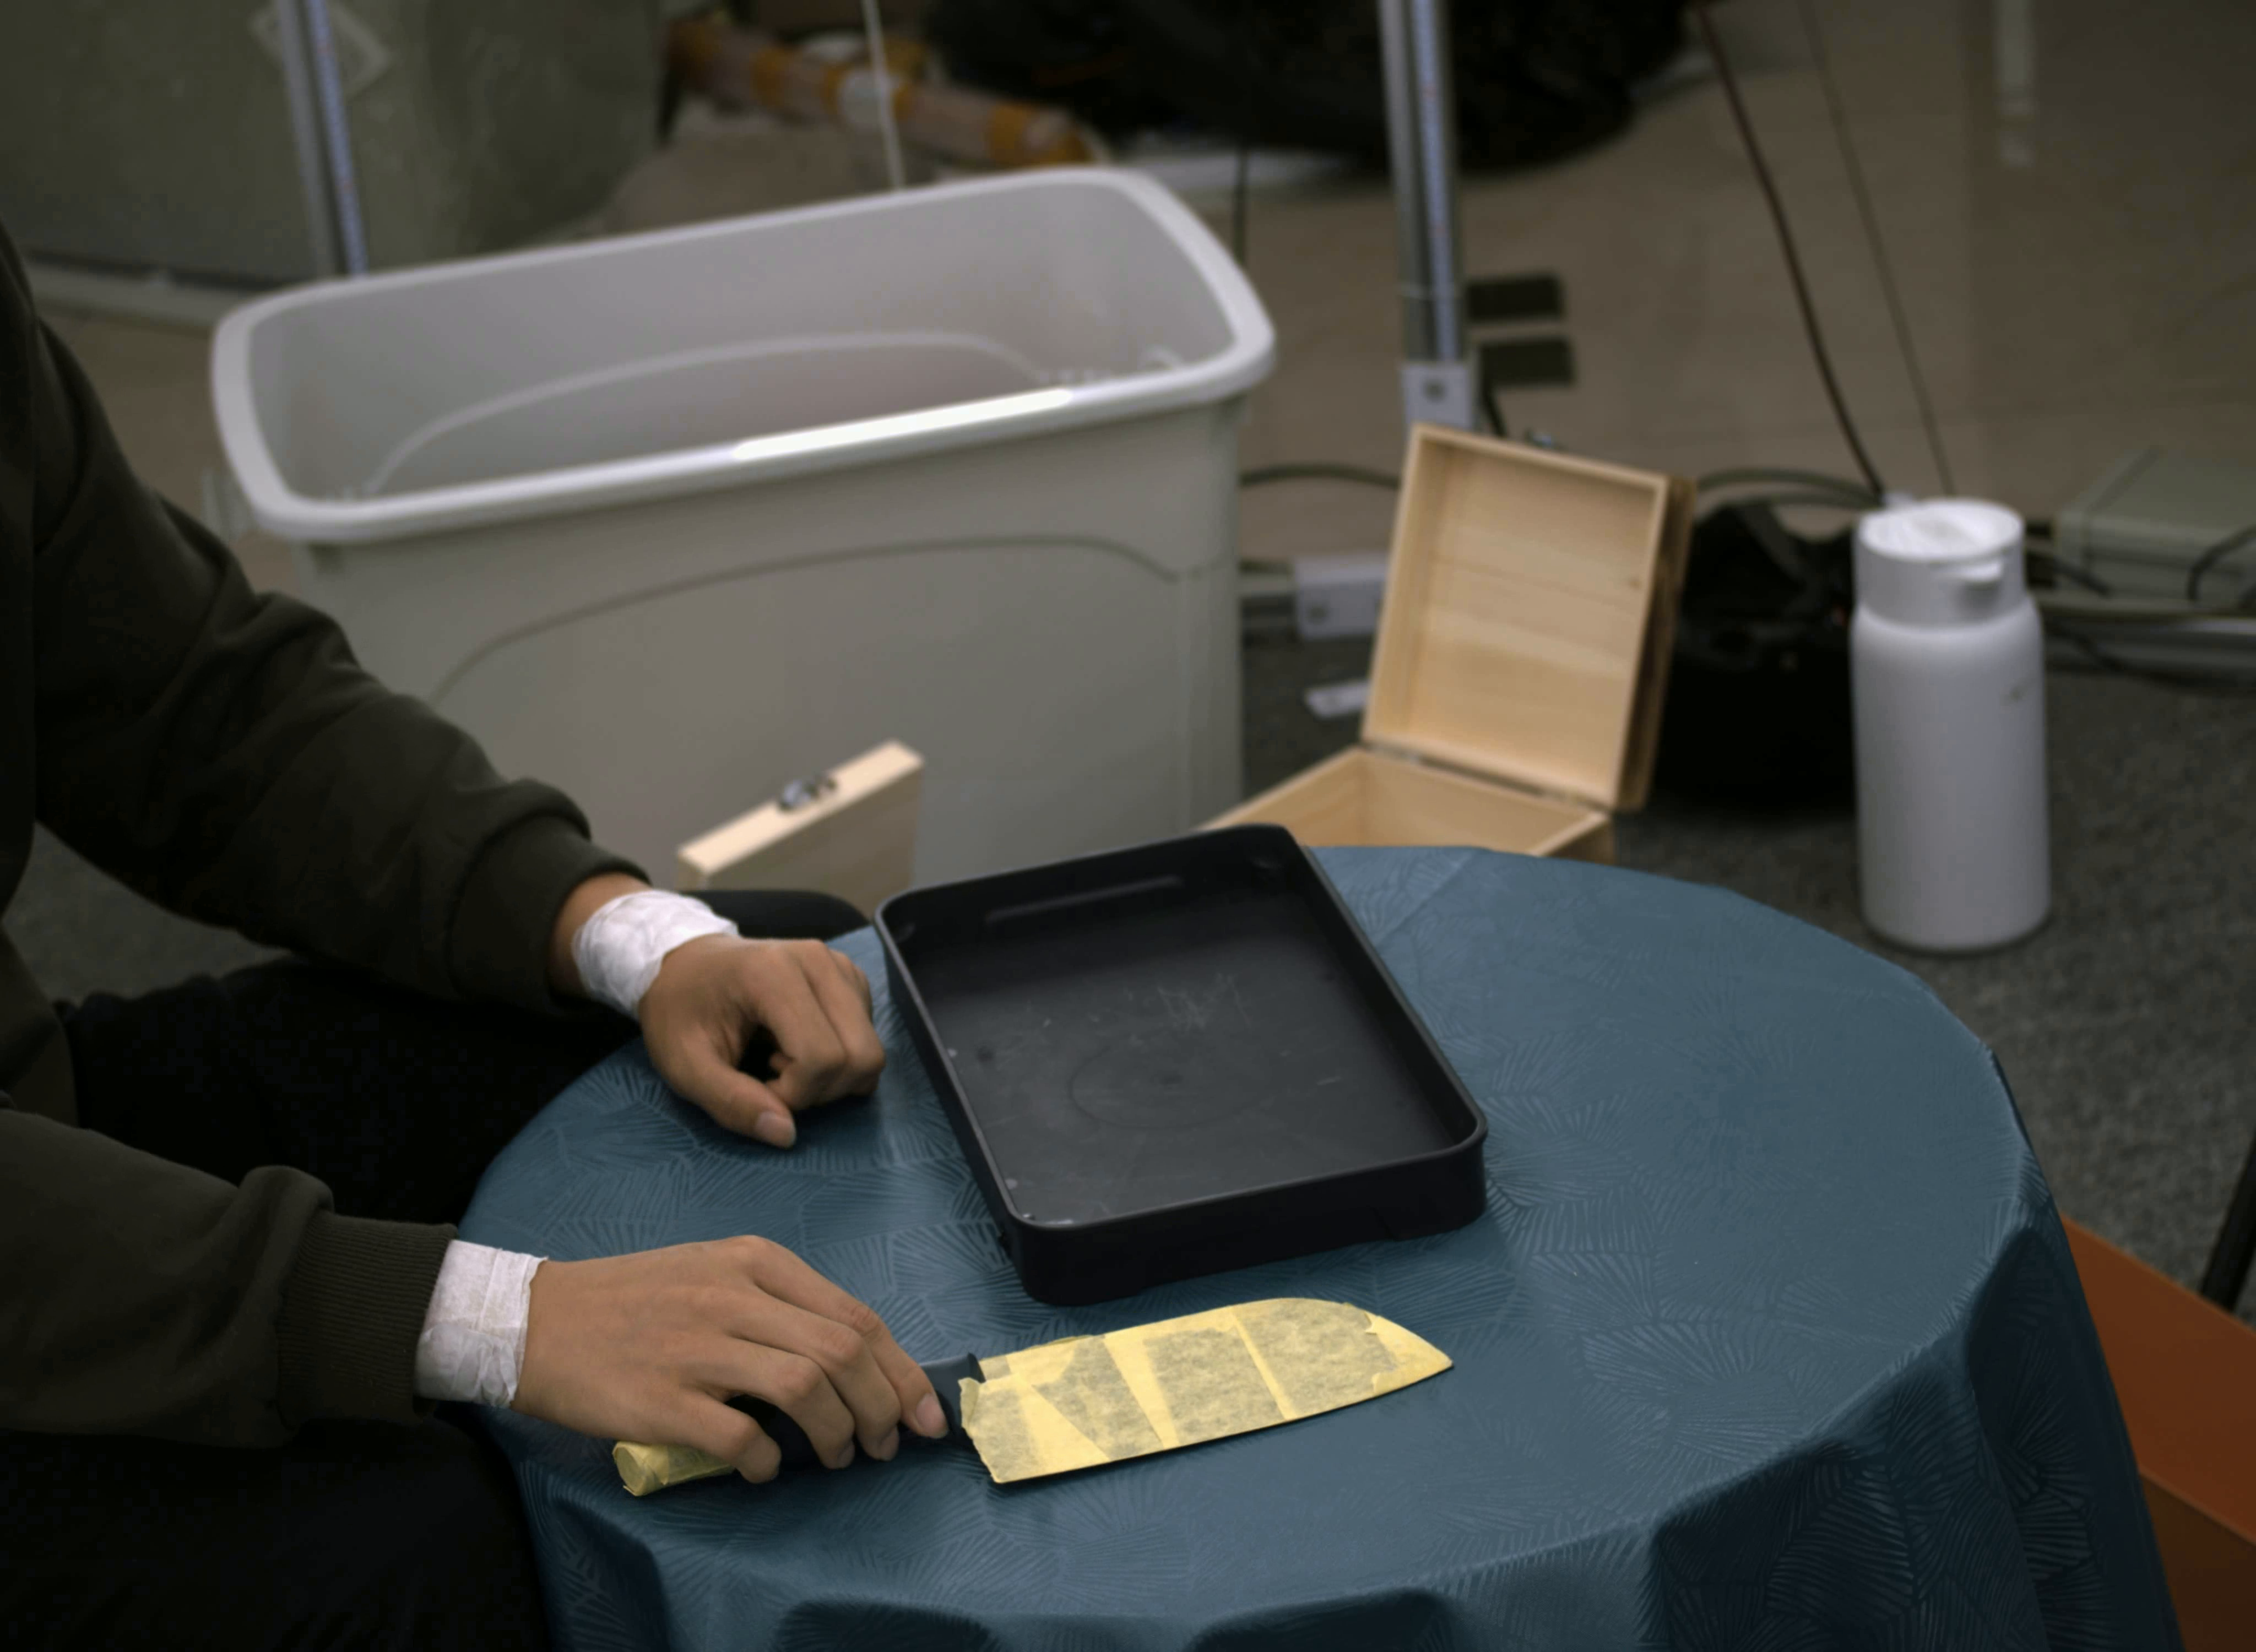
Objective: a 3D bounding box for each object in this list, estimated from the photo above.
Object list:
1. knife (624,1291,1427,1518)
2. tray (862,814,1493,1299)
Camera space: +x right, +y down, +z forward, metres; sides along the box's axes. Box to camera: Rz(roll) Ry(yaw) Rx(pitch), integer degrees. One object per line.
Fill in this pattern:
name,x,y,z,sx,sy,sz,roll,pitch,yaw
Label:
knife,-0.033,0.207,1.997,0.289,0.028,0.080,-11,30,-10
tray,0.015,0.085,2.221,0.184,0.037,0.313,-12,25,-10
